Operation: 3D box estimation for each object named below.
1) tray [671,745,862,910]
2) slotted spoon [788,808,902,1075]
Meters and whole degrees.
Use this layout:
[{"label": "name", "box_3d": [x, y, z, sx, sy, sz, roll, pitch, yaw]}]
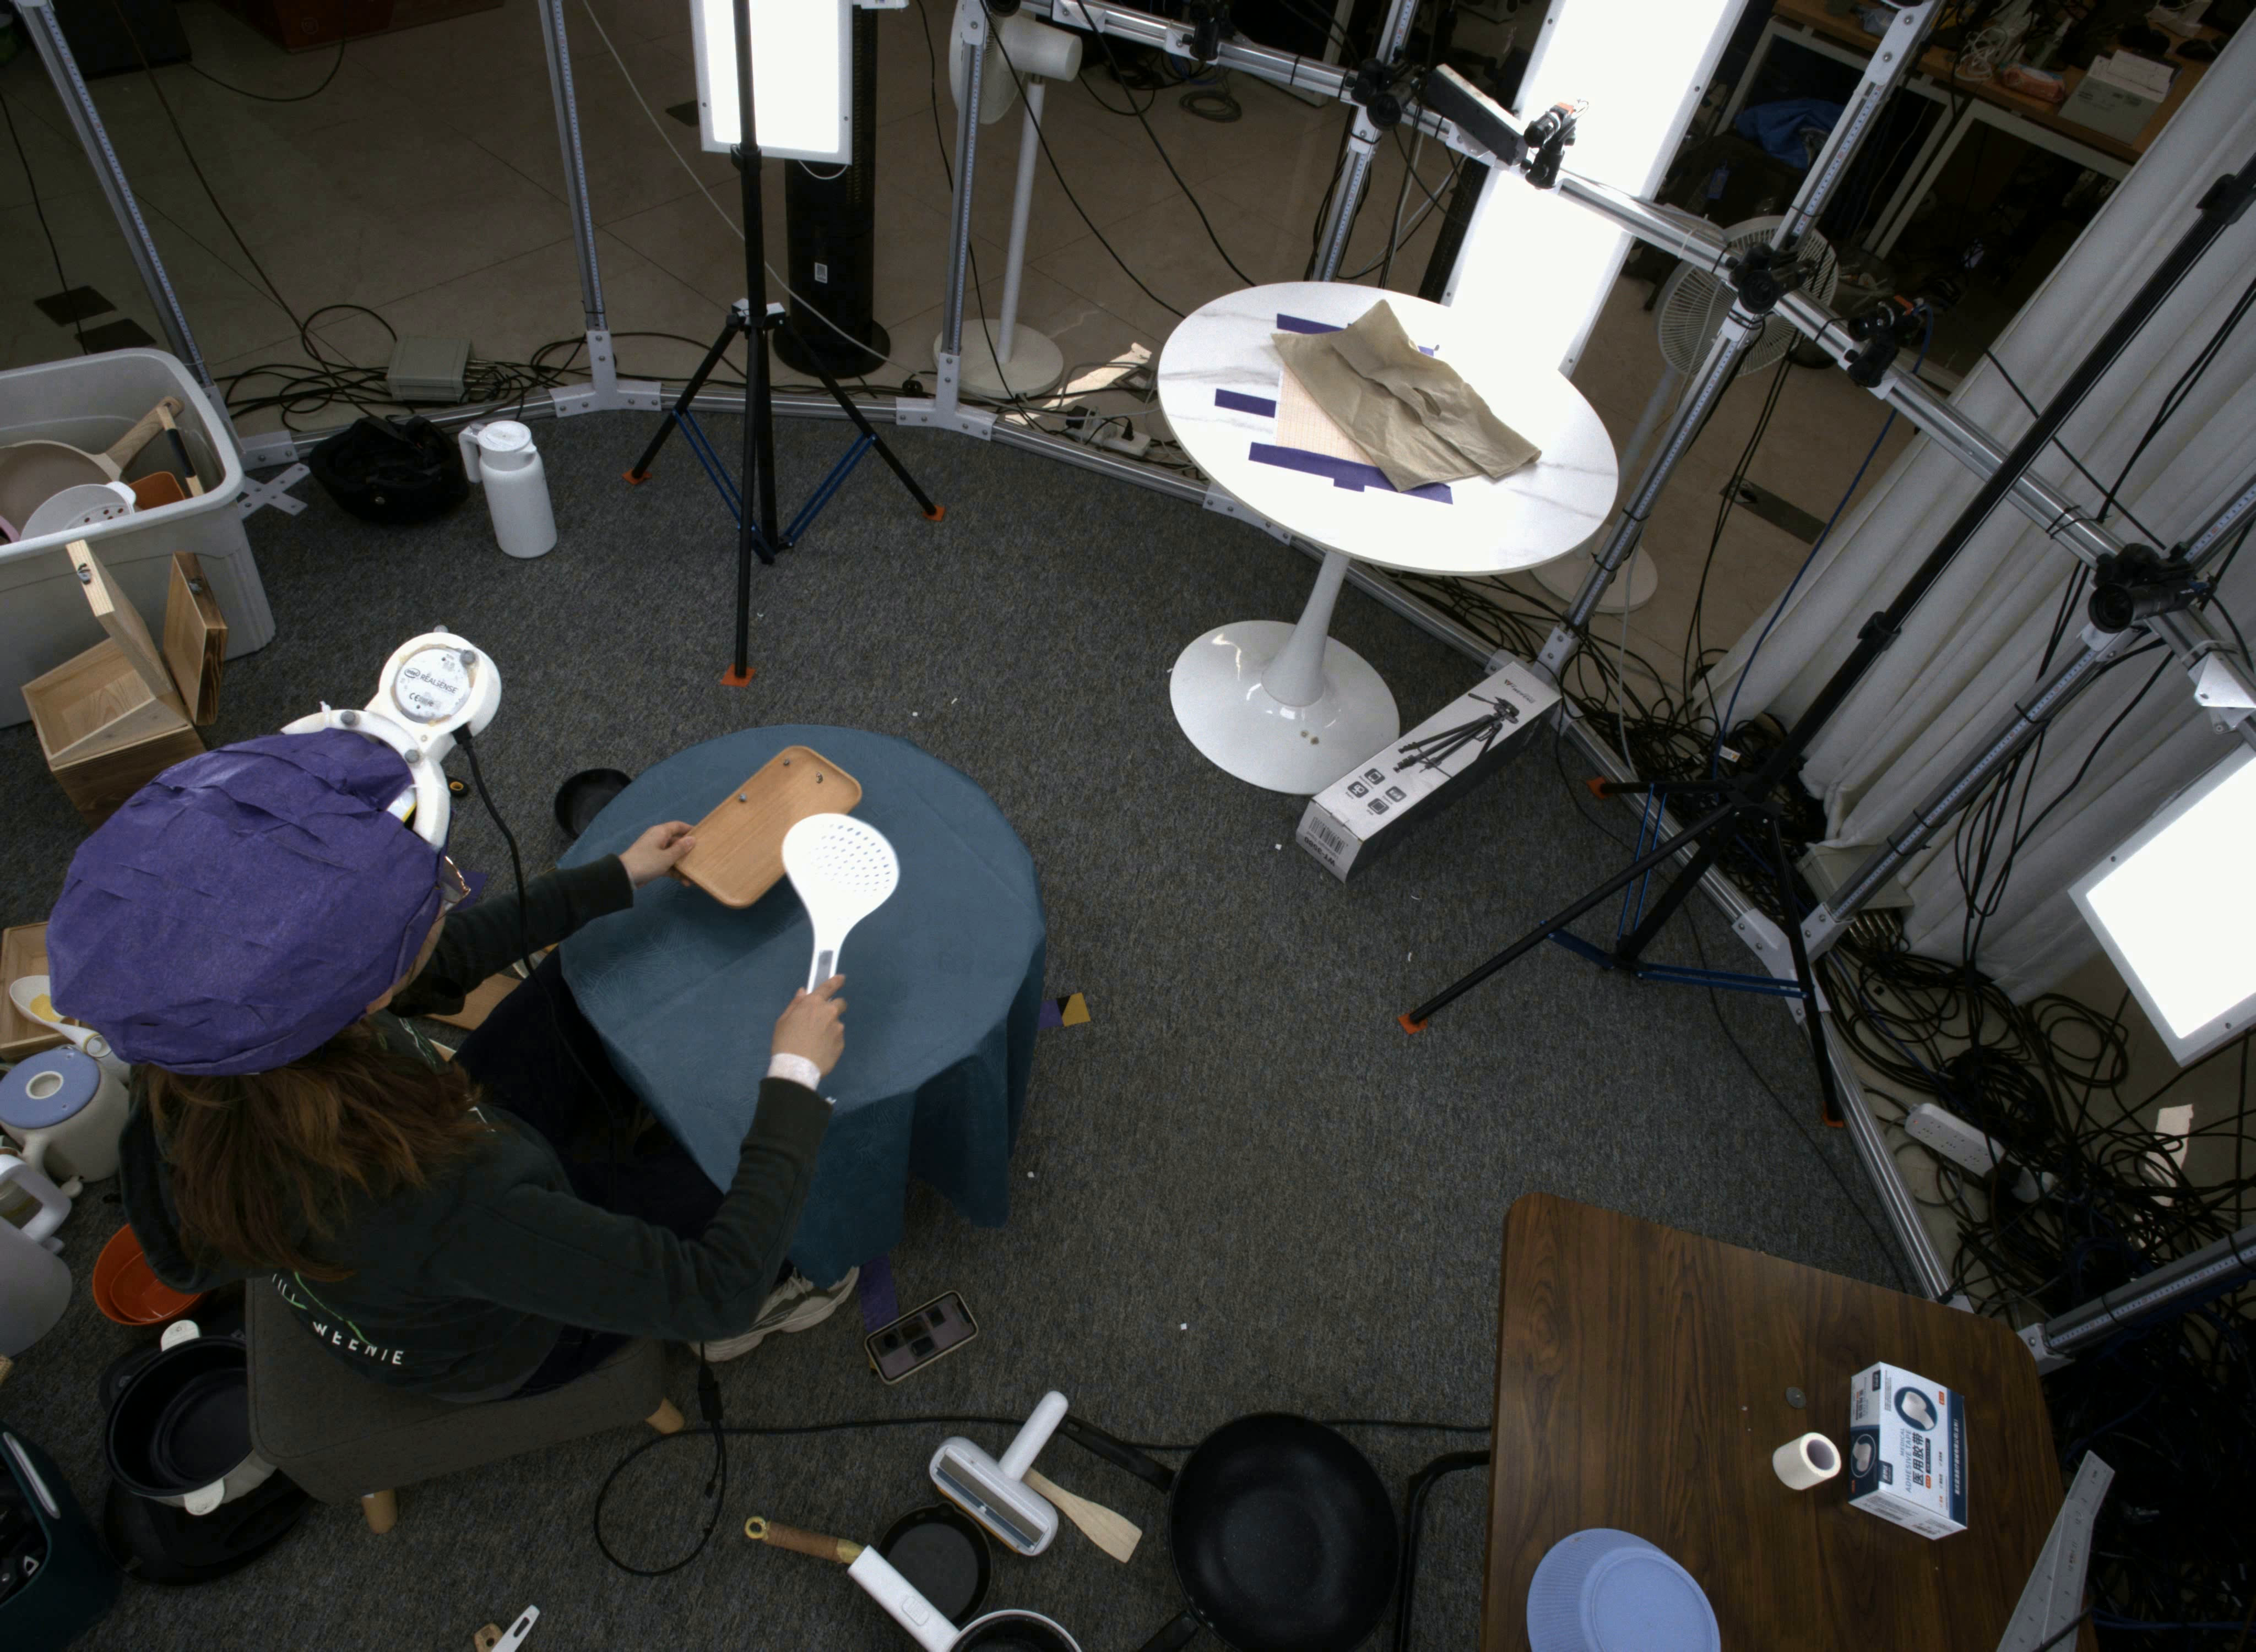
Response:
[{"label": "tray", "box_3d": [-0.455, -0.002, 1.640, 0.128, 0.023, 0.250, 34, 54, 9]}, {"label": "slotted spoon", "box_3d": [-0.331, 0.118, 1.441, 0.138, 0.046, 0.342, 18, 42, -20]}]
